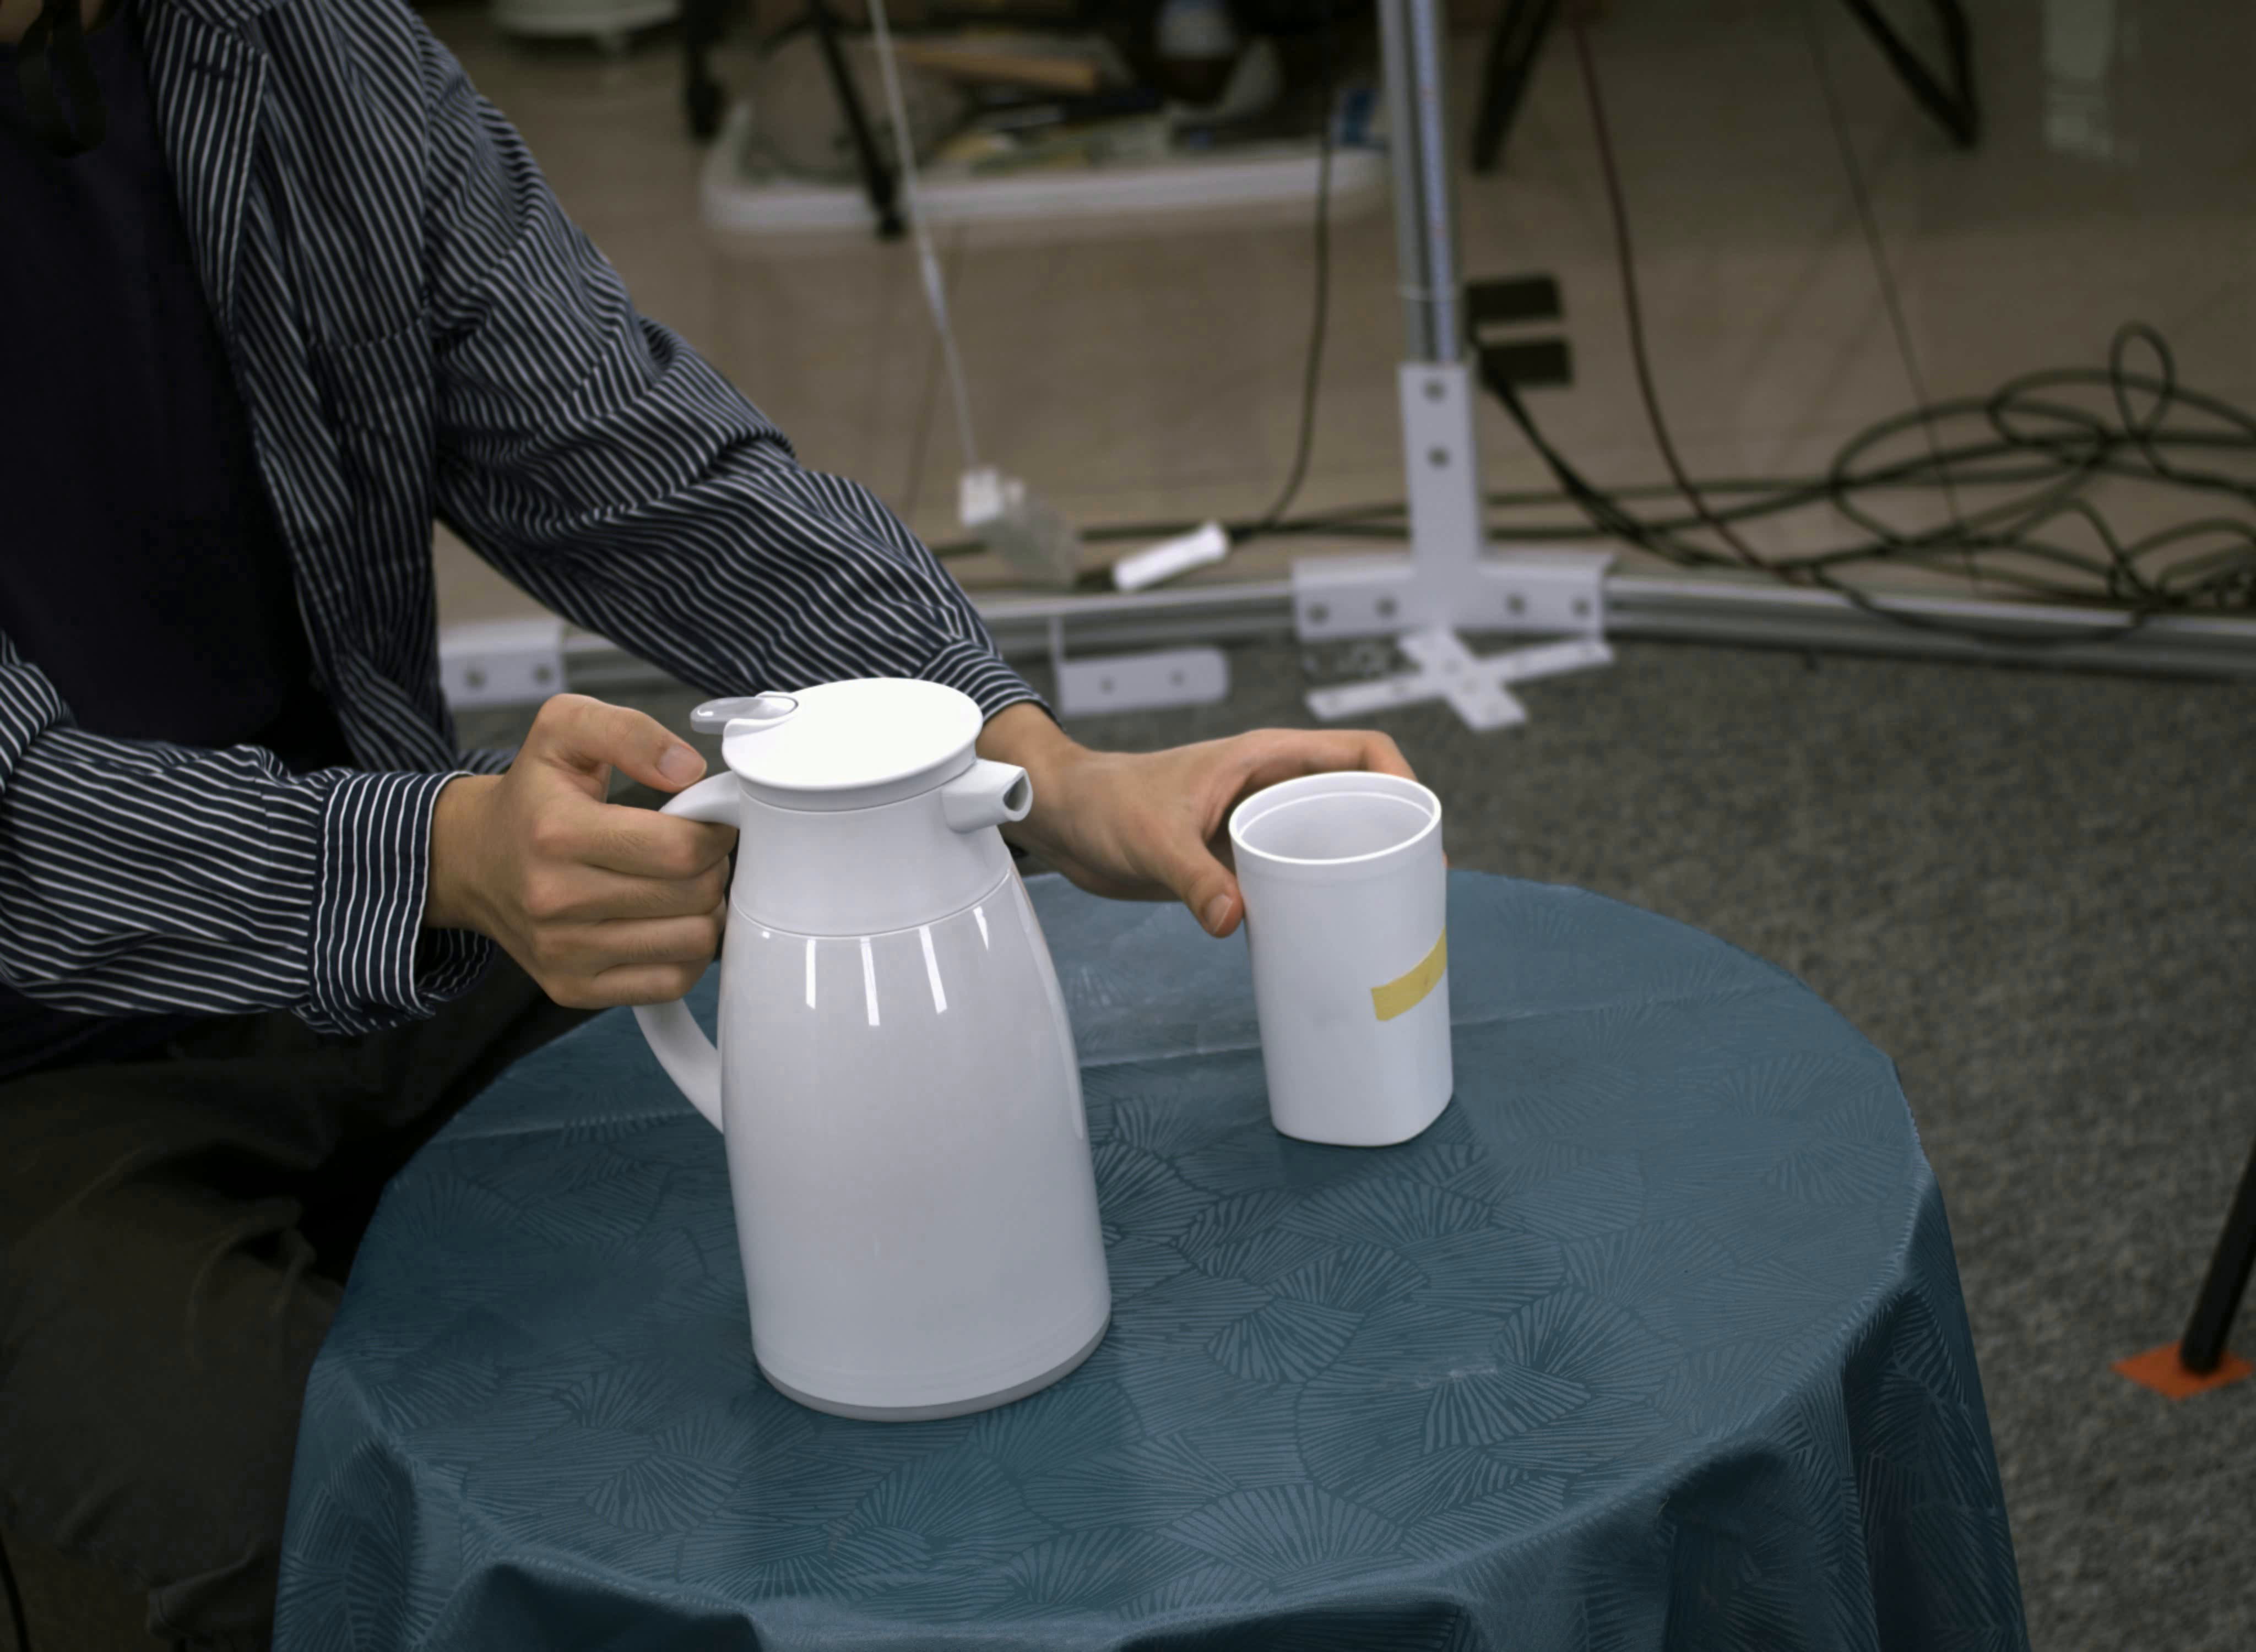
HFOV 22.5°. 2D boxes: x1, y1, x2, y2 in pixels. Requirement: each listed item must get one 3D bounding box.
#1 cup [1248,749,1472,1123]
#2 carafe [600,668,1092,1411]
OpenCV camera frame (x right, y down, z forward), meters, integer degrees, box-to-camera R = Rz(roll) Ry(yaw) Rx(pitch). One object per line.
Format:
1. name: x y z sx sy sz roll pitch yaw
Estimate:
1. cup: 0.092 0.044 2.173 0.081 0.127 0.080 -6 27 3
2. carafe: -0.105 0.068 2.021 0.167 0.253 0.130 4 30 16
